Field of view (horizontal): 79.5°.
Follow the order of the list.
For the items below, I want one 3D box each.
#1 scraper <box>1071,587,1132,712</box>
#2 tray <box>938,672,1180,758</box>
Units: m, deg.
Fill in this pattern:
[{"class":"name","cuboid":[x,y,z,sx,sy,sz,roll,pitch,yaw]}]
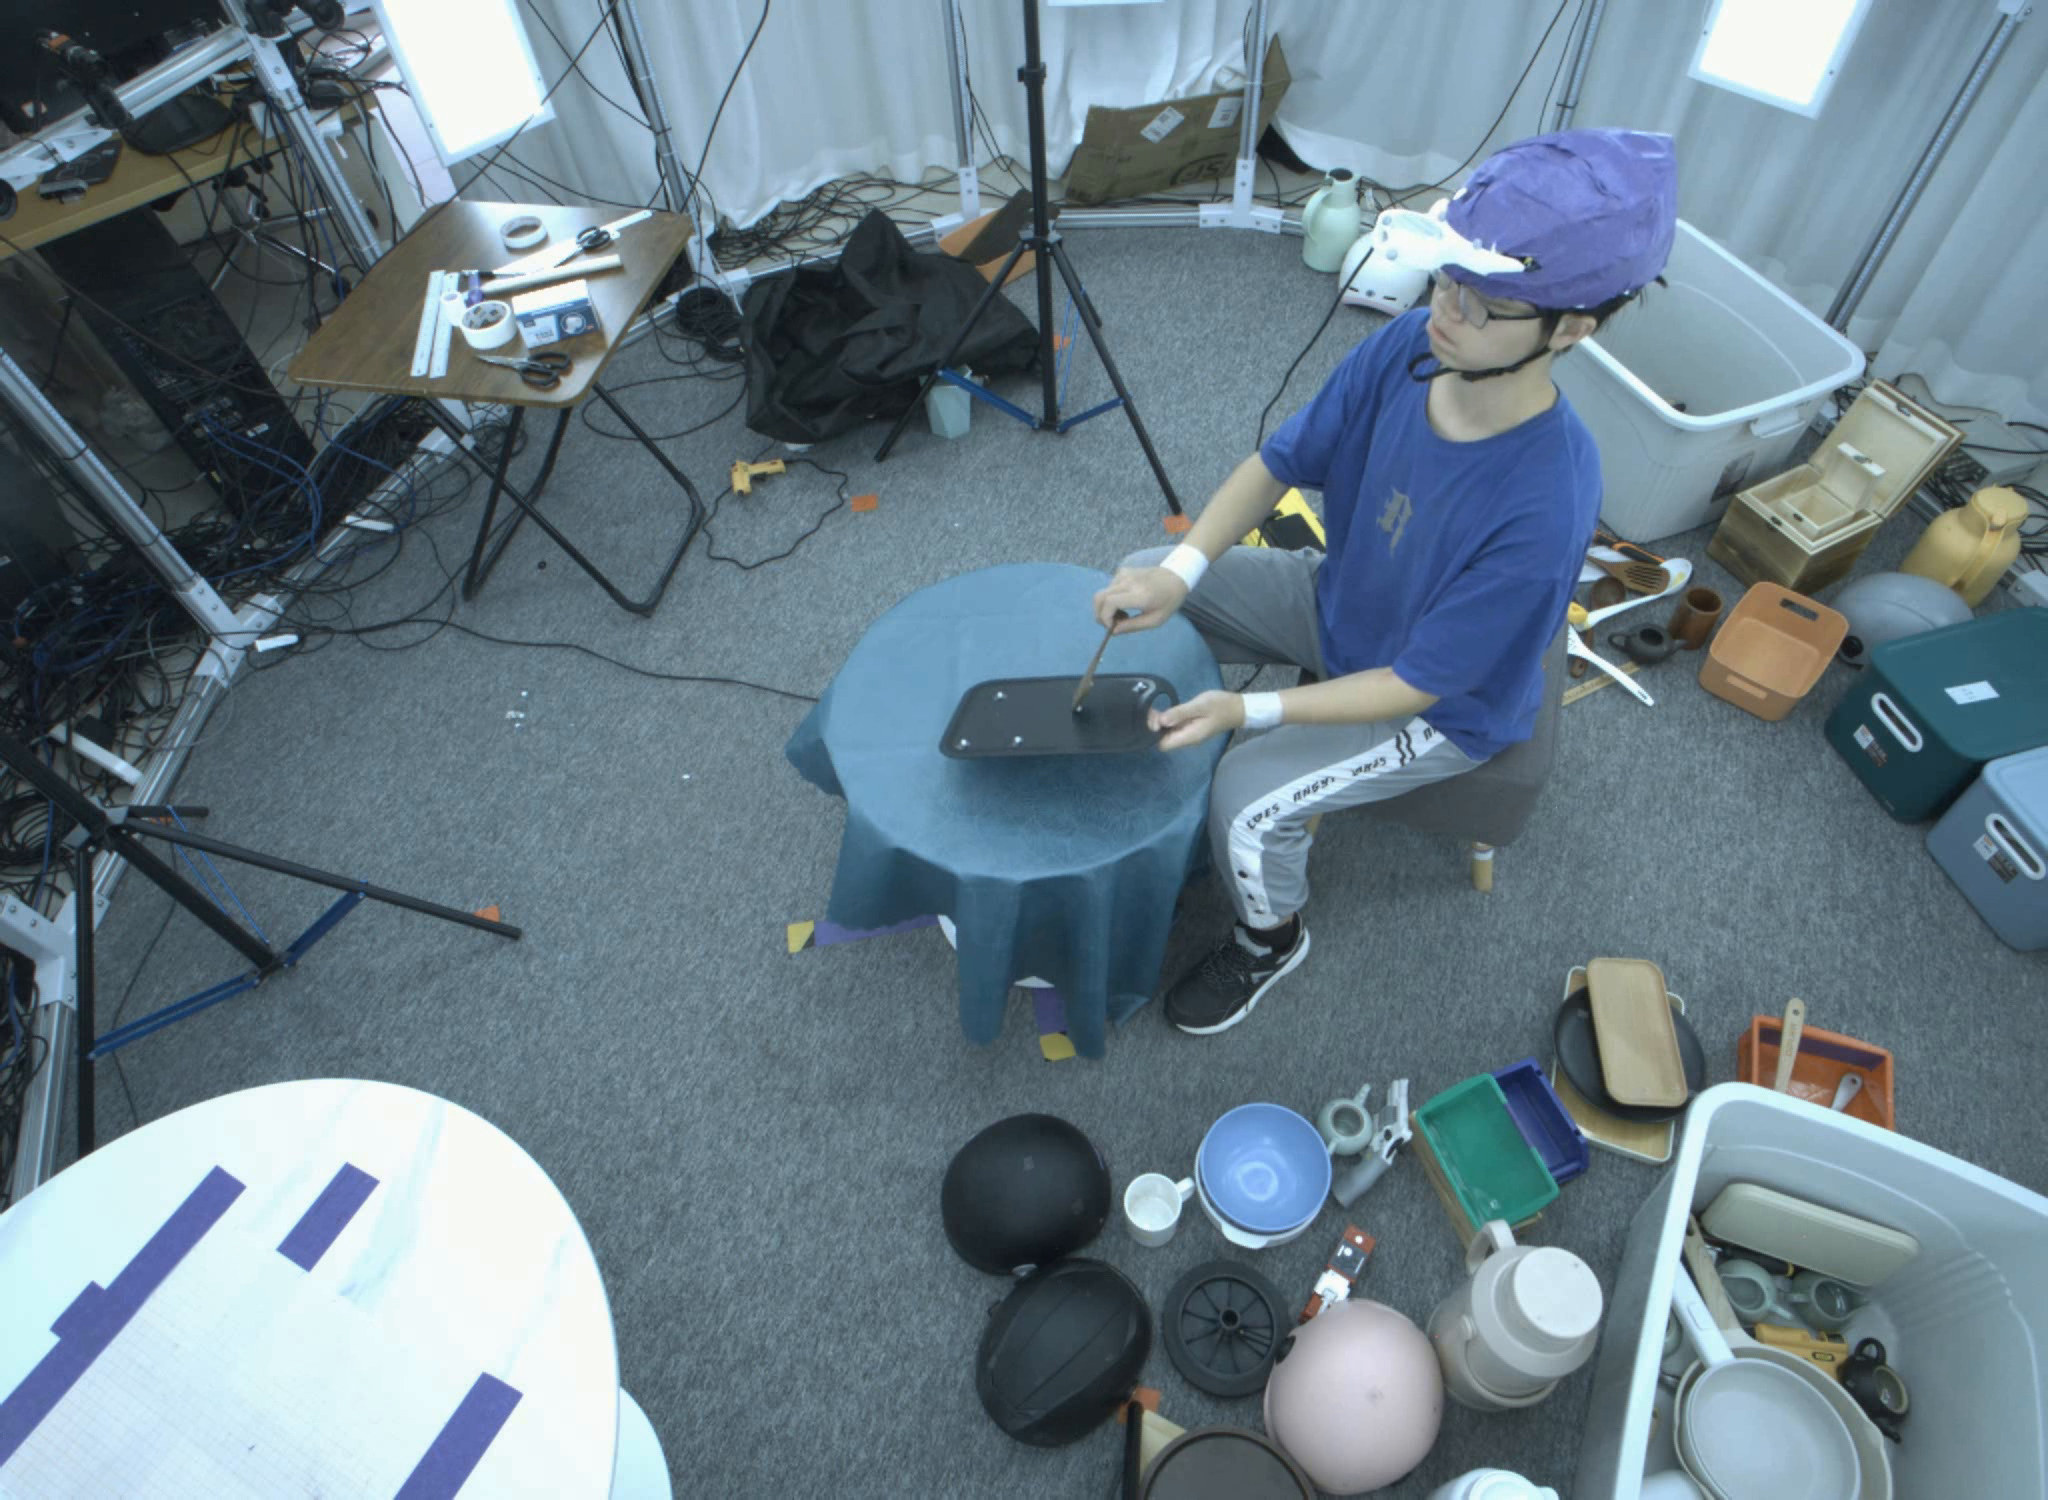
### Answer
[{"class":"scraper","cuboid":[0.110,-0.147,1.710,0.011,0.075,0.211,27,61,-4]},{"class":"tray","cuboid":[0.053,-0.052,1.697,0.322,0.010,0.210,-1,33,15]}]
